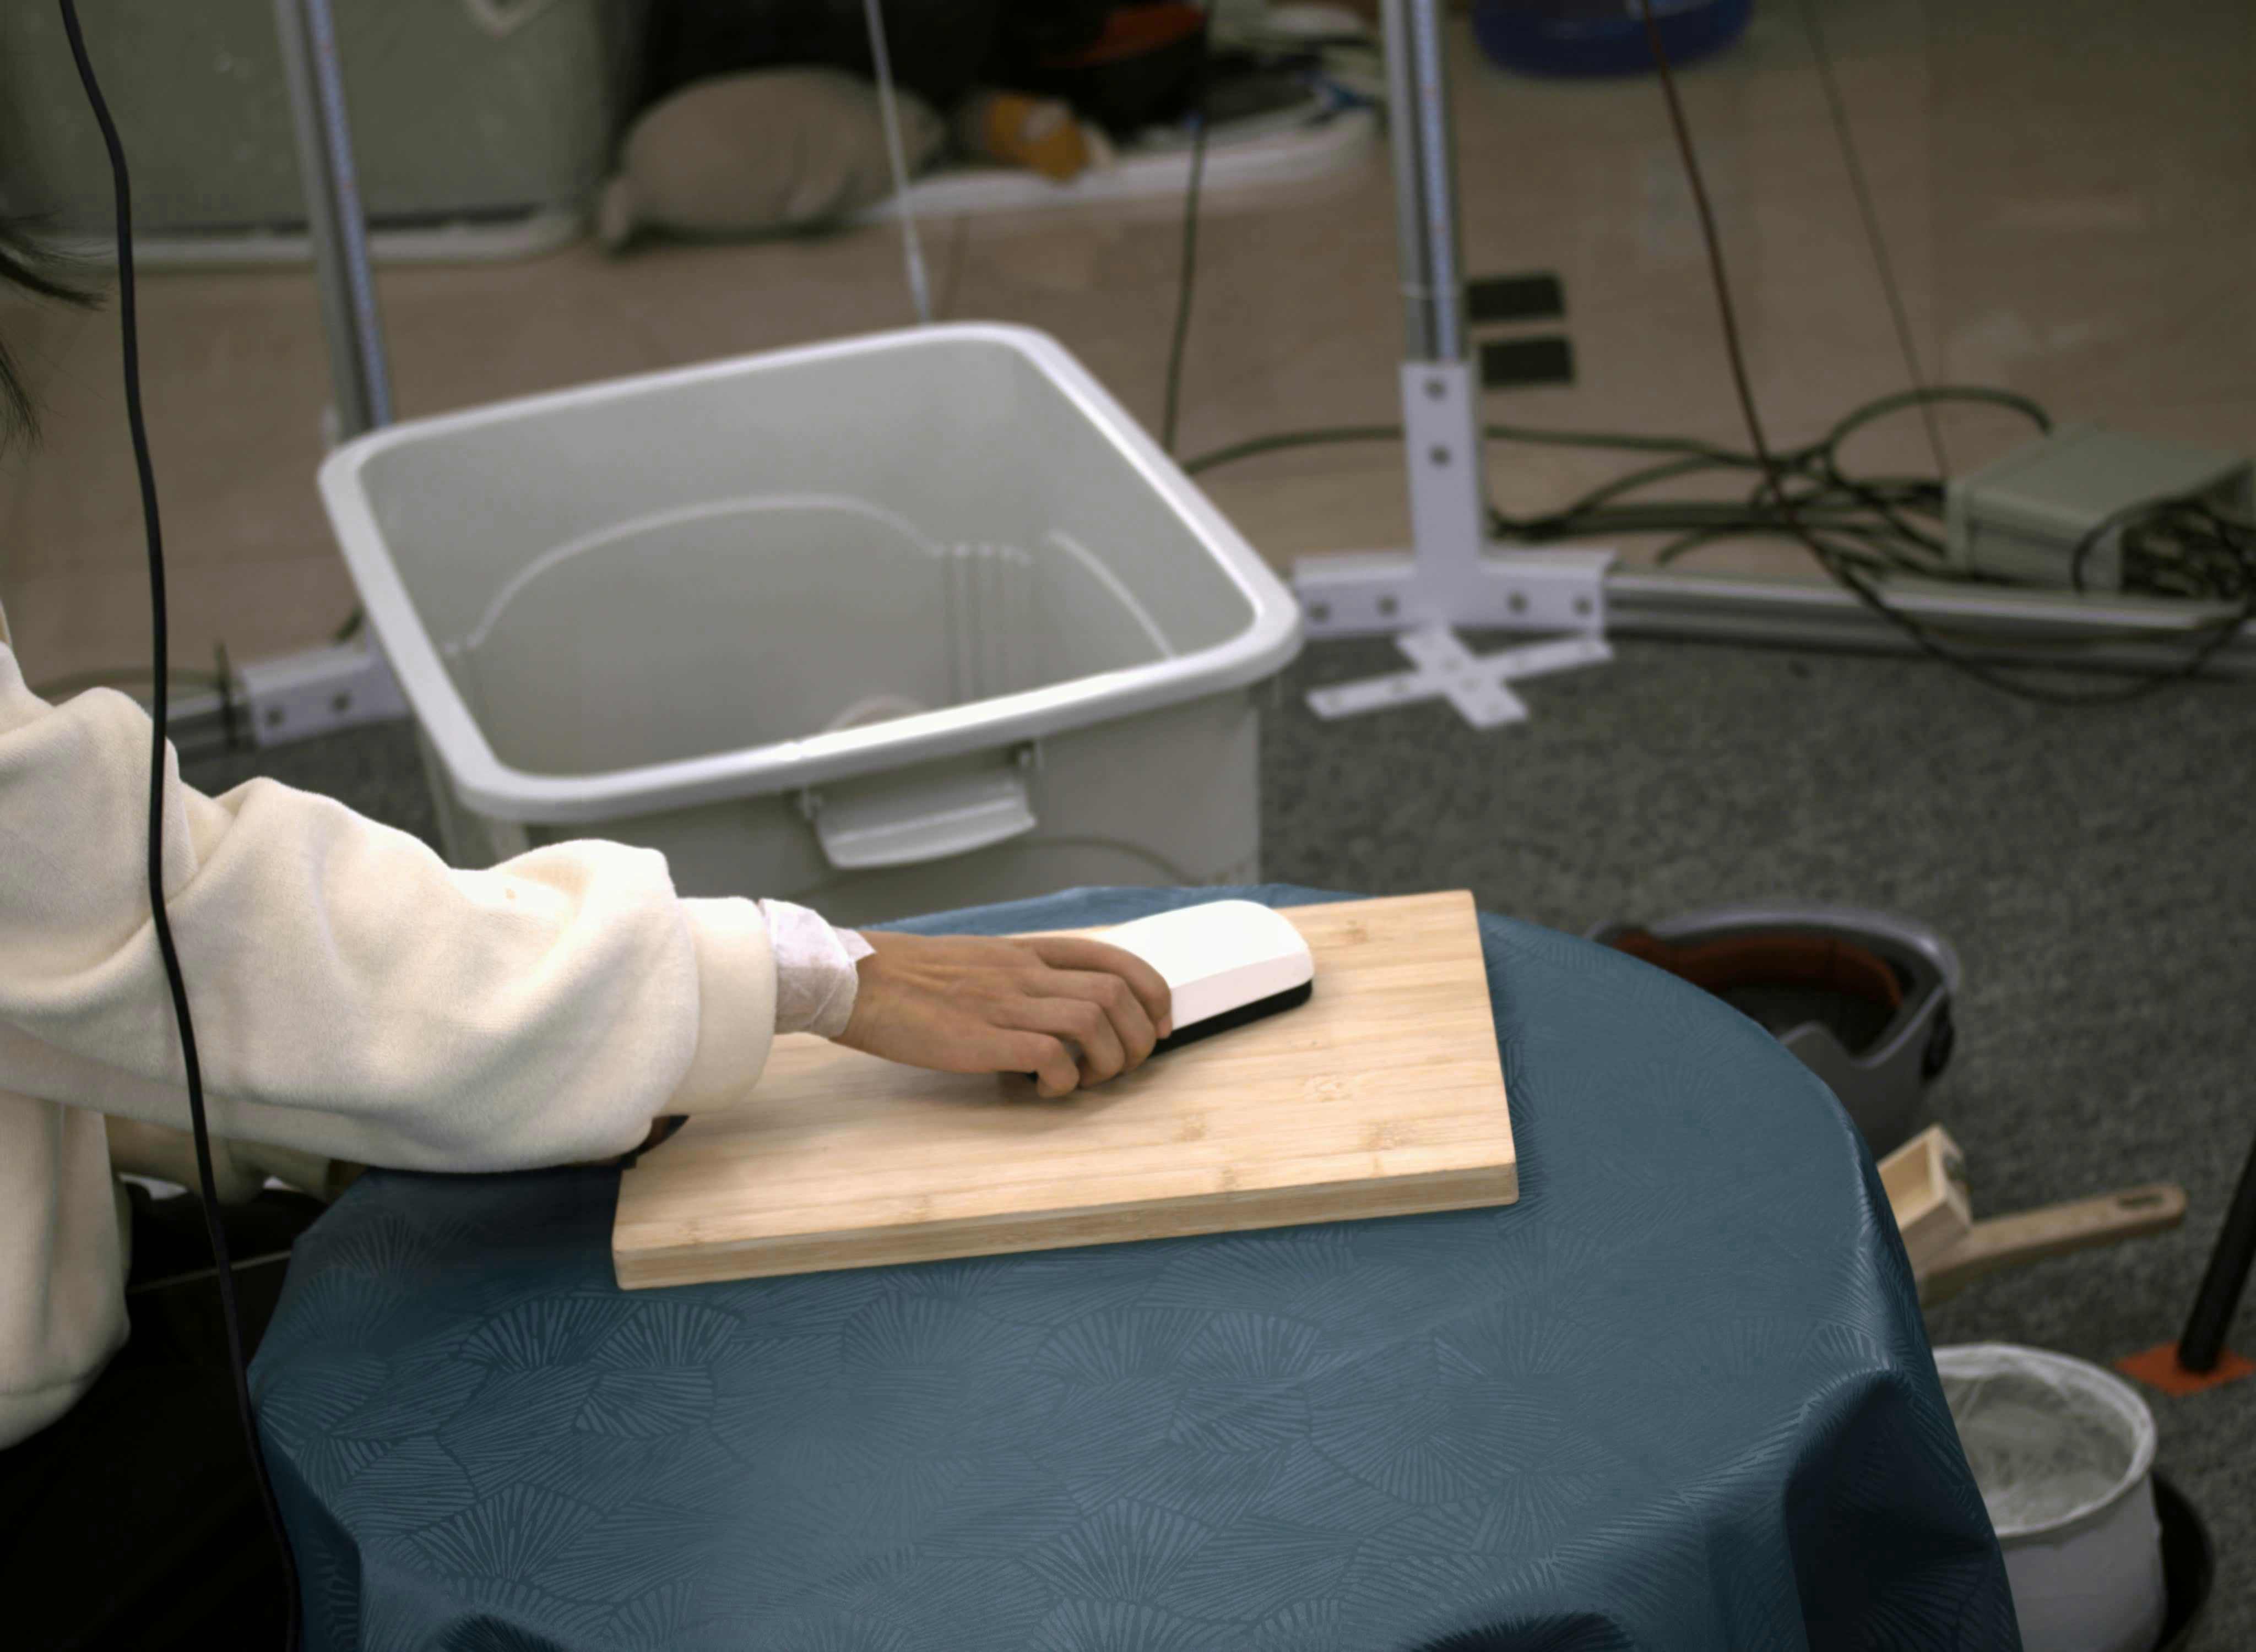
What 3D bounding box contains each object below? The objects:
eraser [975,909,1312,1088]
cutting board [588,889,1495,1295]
[{"bbox_3d":[0.006,0.064,2.228,0.130,0.035,0.062,-17,27,-22],"label":"eraser"},{"bbox_3d":[-0.031,0.101,2.218,0.348,0.024,0.247,-6,25,1],"label":"cutting board"}]
